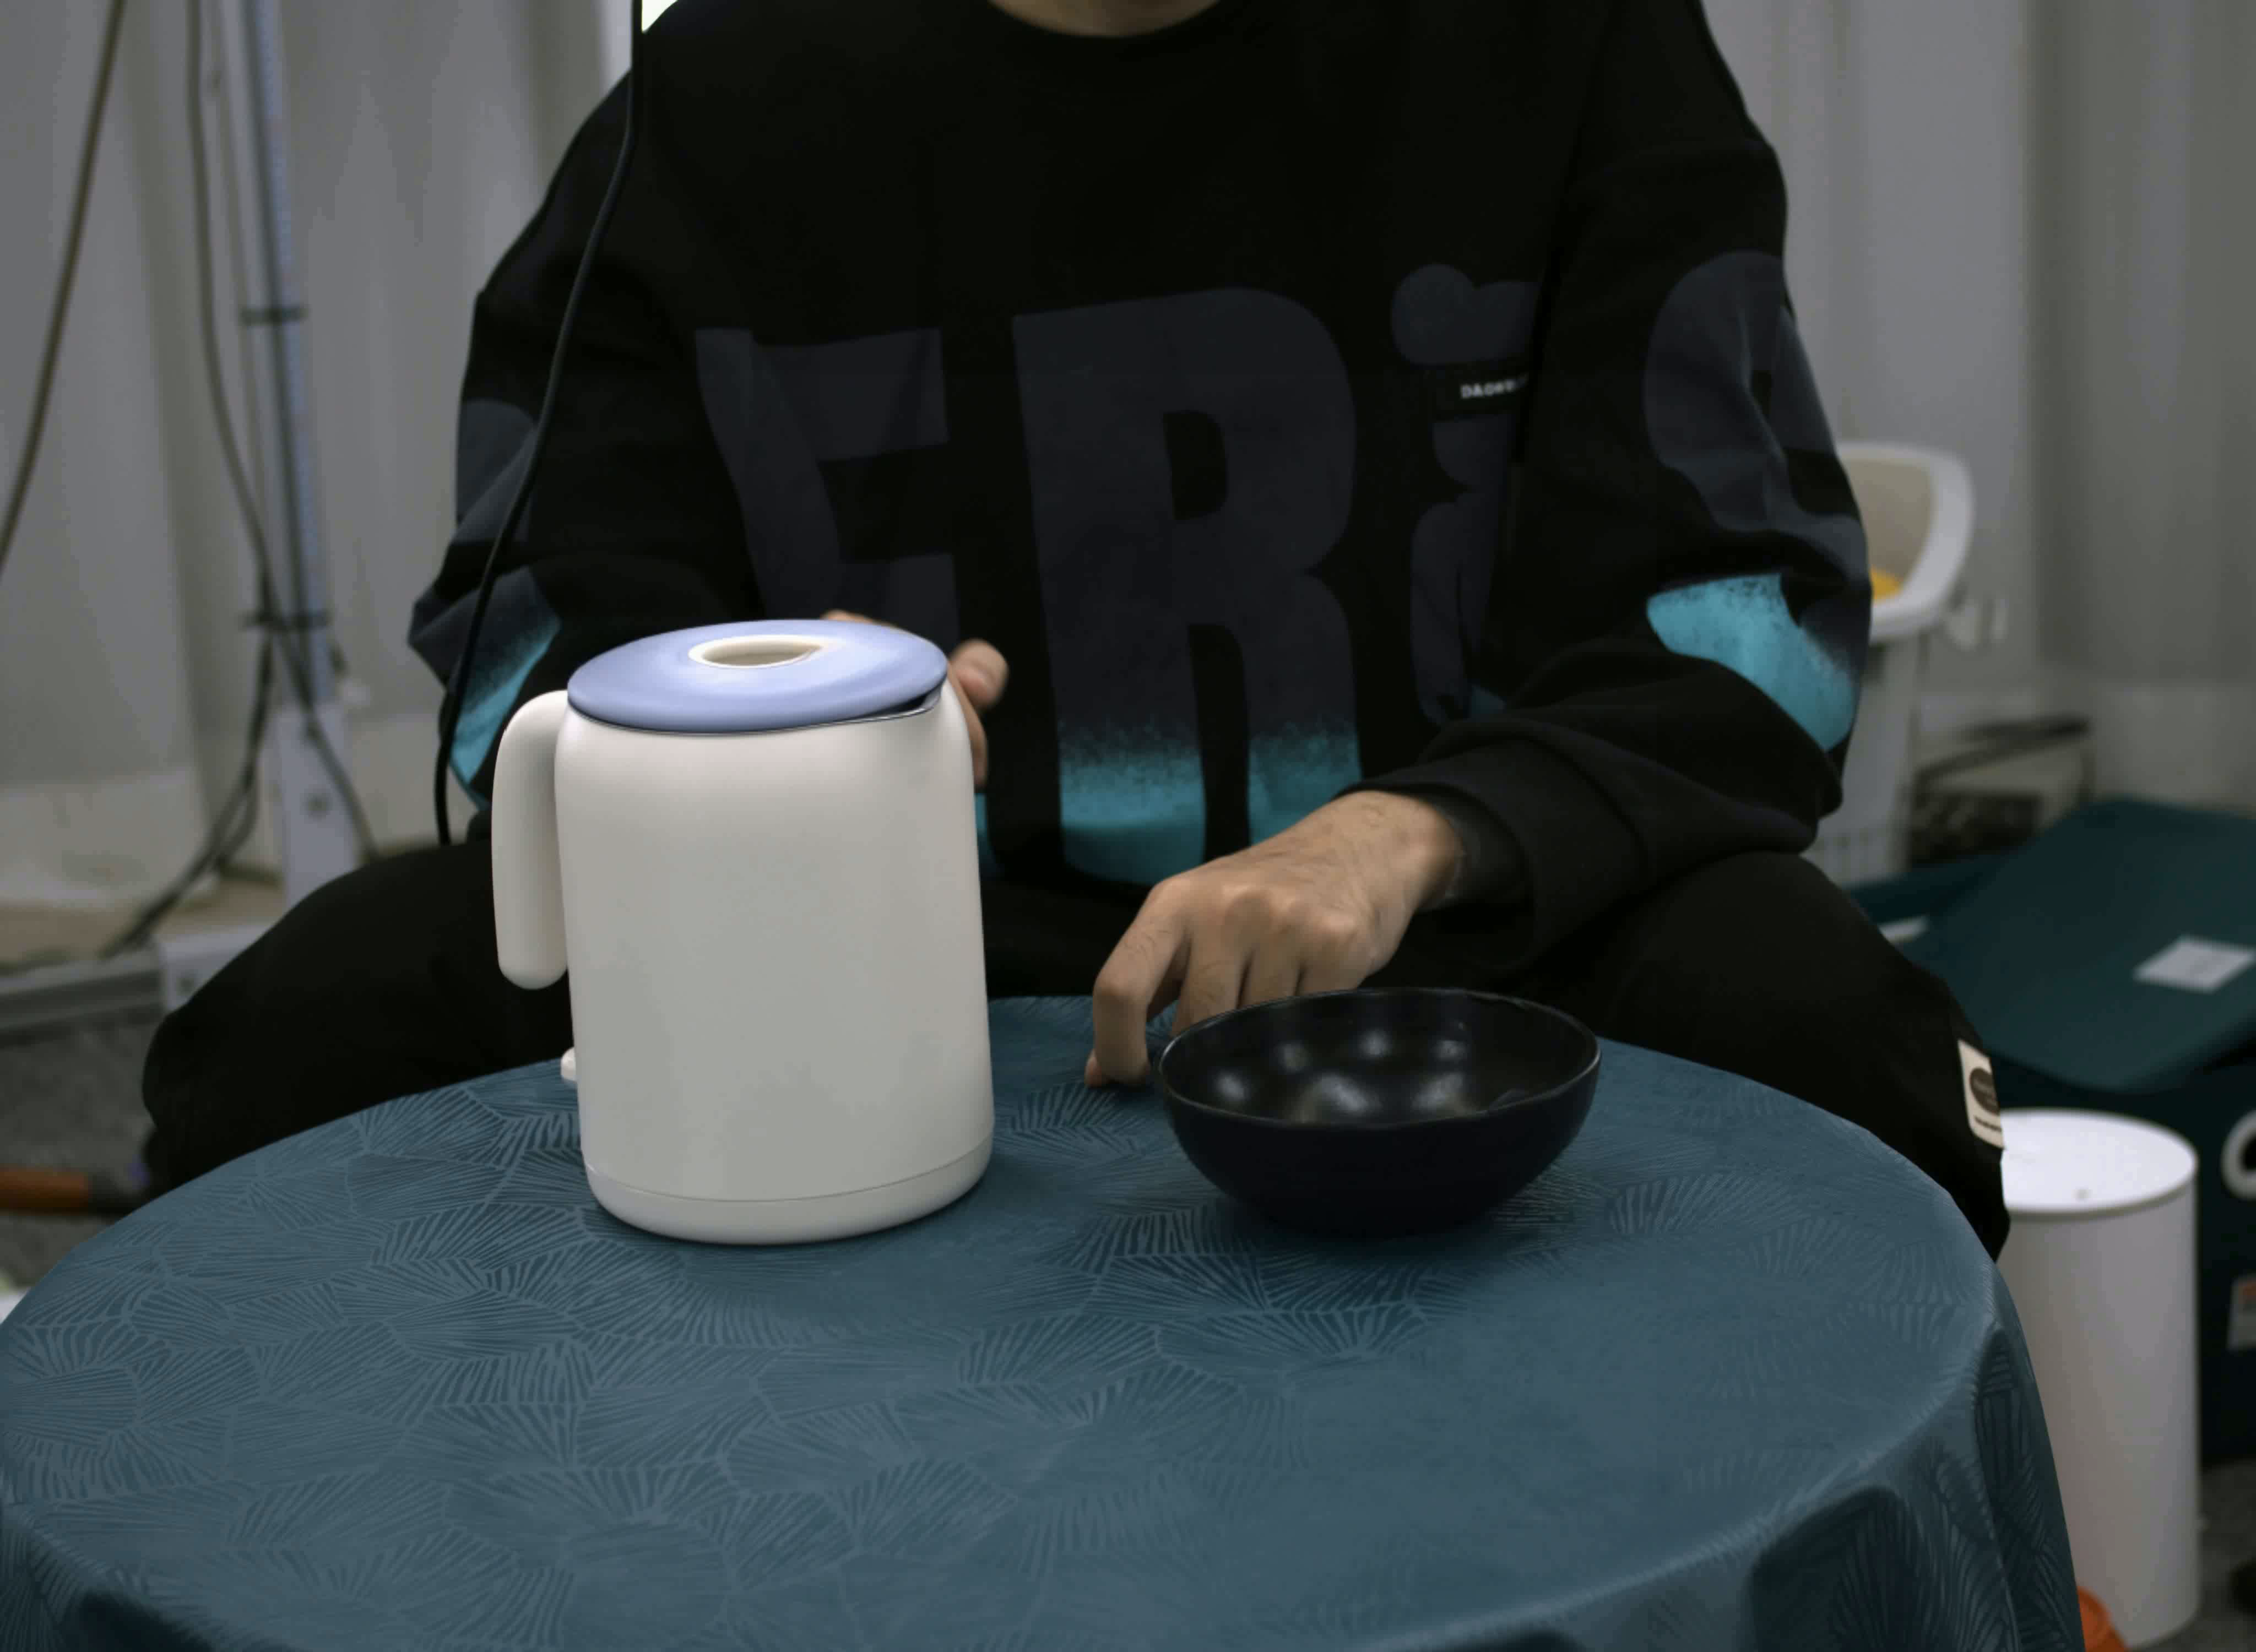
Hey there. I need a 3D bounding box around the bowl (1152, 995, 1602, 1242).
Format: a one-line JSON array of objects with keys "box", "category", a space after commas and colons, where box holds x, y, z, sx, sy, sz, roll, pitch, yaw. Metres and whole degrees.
[{"box": [0.078, 0.094, 1.683, 0.139, 0.049, 0.141, -4, 13, 1], "category": "bowl"}]

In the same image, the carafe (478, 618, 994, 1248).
[{"box": [-0.131, 0.030, 1.730, 0.192, 0.182, 0.132, 5, 15, 37], "category": "carafe"}]
